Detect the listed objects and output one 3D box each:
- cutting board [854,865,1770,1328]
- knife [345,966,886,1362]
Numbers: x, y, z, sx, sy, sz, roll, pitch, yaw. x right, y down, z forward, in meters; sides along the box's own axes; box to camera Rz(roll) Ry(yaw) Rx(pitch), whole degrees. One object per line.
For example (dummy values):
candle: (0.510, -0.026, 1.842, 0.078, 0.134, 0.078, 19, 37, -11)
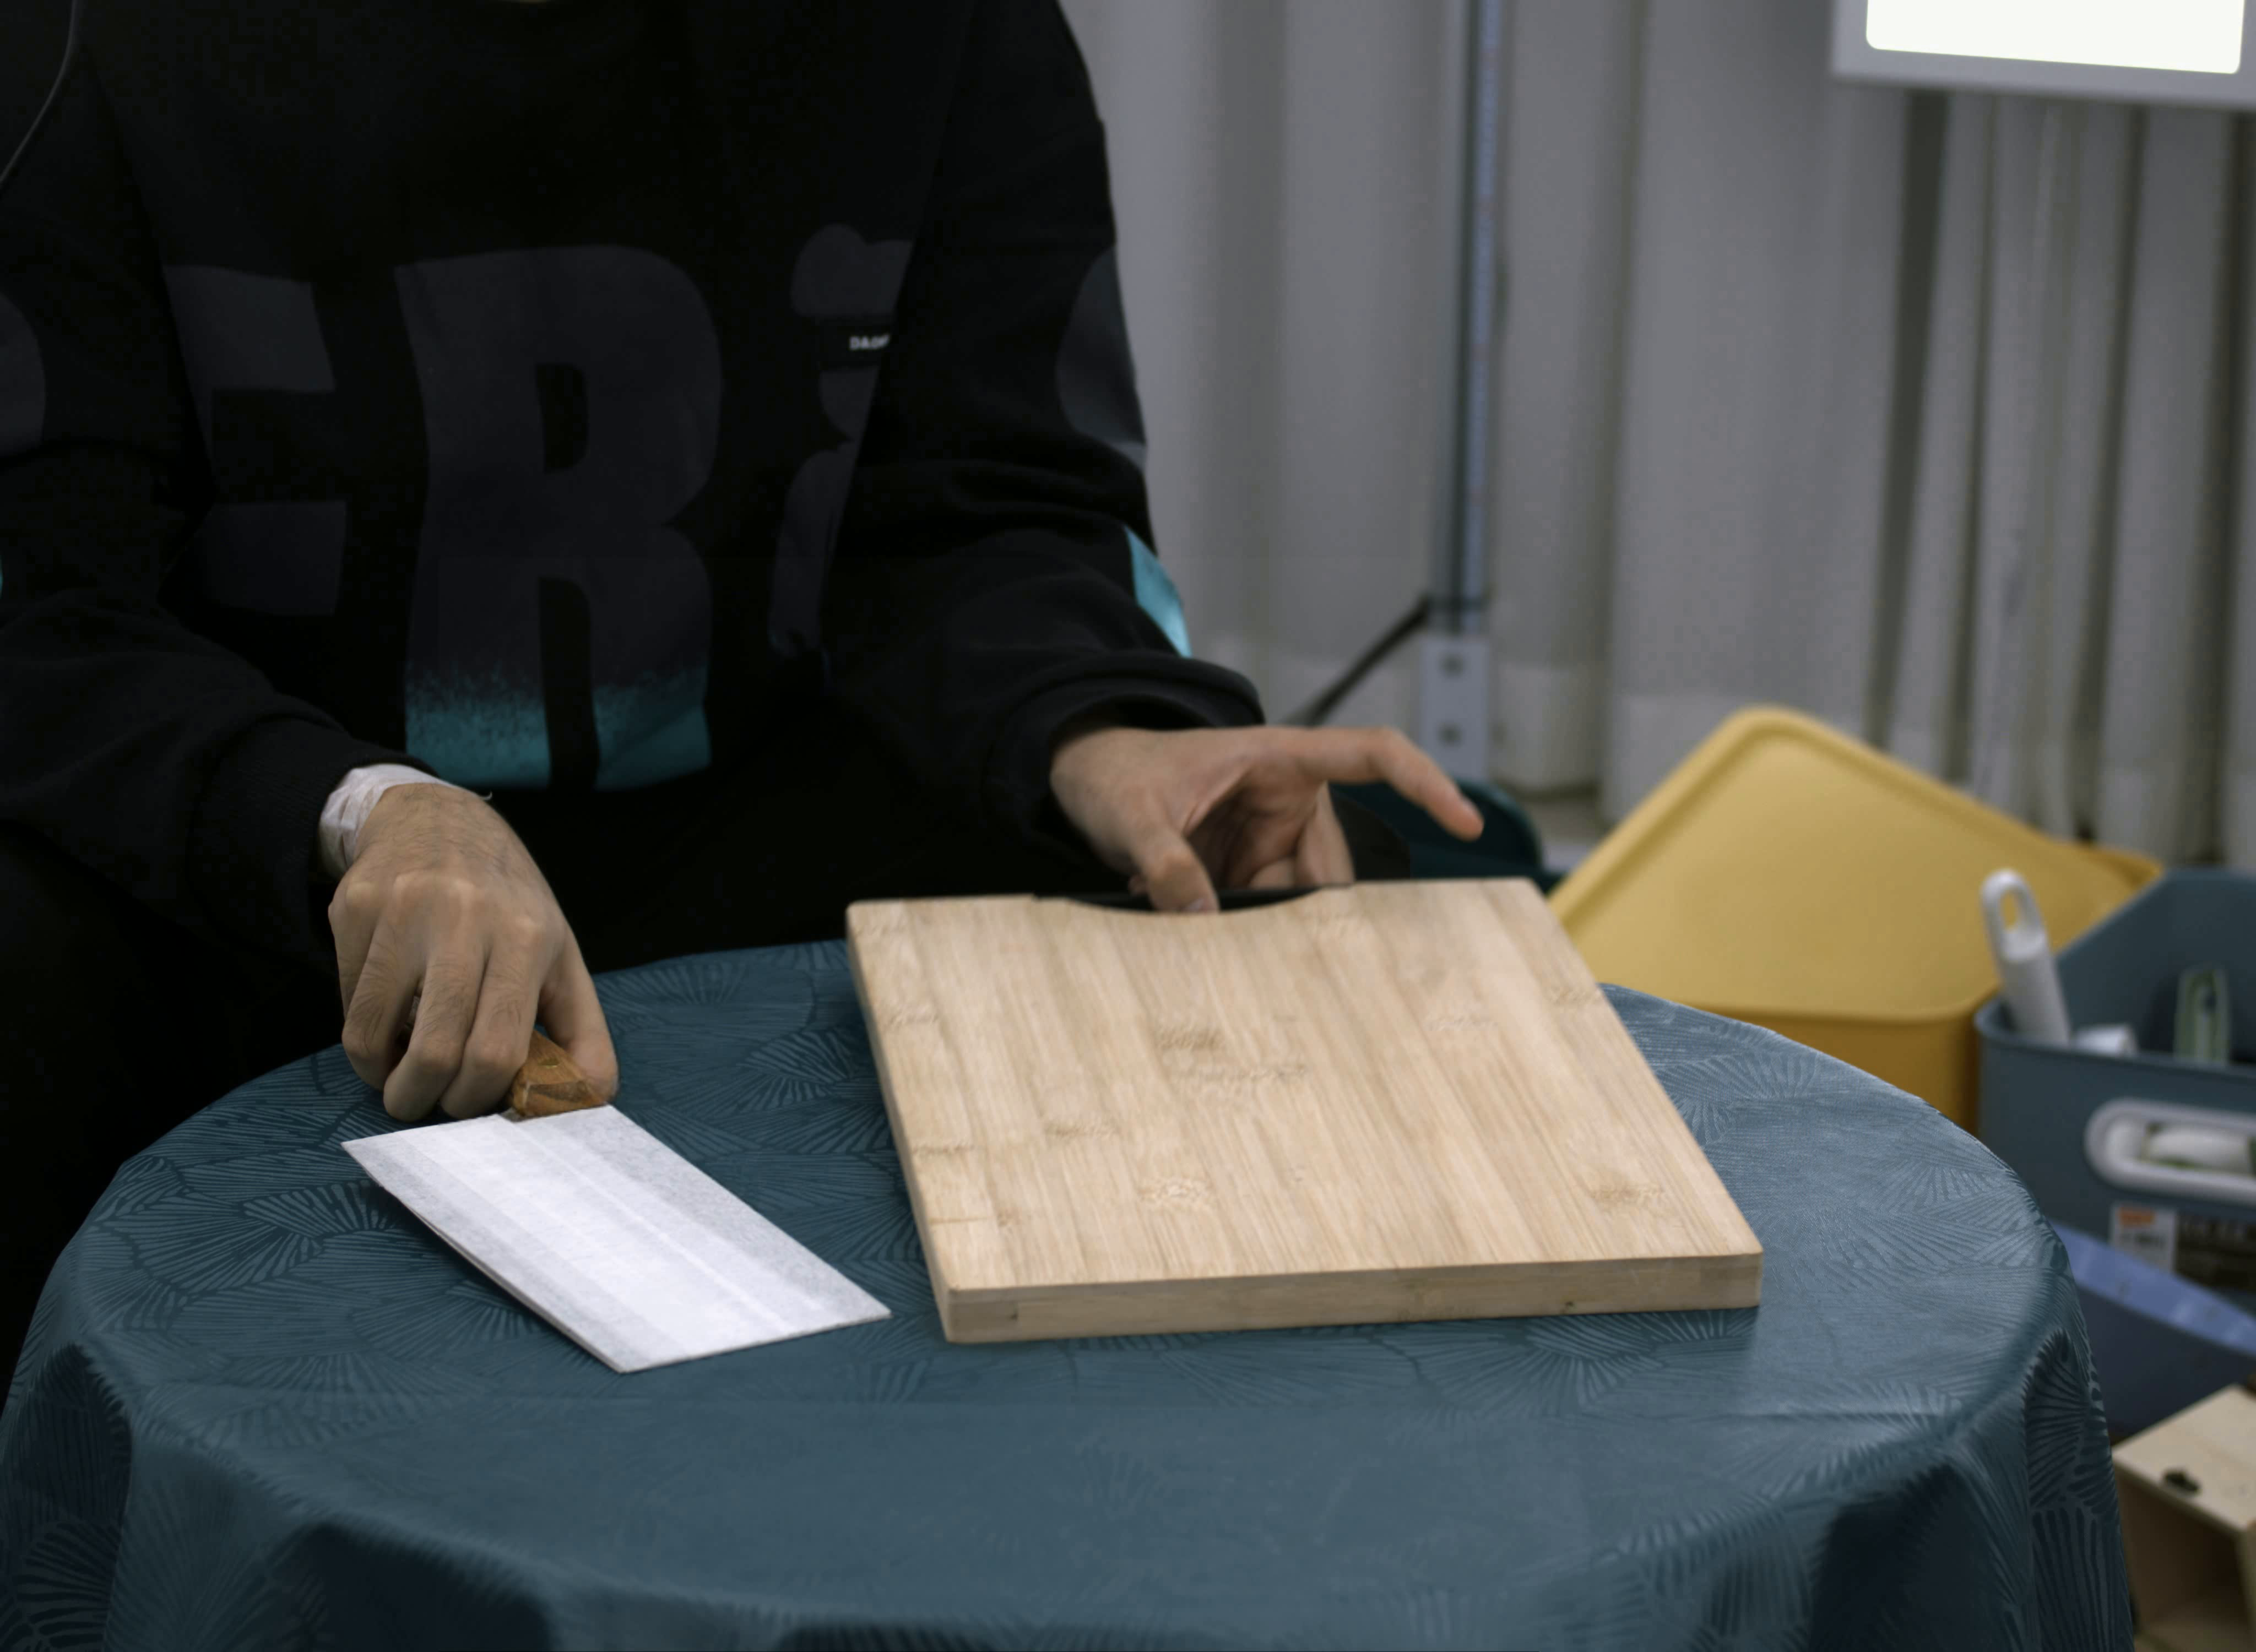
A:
cutting board: (0.046, 0.080, 1.675, 0.250, 0.024, 0.345, -2, 19, -9)
knife: (-0.184, 0.102, 1.612, 0.093, 0.021, 0.301, -10, 22, -31)
